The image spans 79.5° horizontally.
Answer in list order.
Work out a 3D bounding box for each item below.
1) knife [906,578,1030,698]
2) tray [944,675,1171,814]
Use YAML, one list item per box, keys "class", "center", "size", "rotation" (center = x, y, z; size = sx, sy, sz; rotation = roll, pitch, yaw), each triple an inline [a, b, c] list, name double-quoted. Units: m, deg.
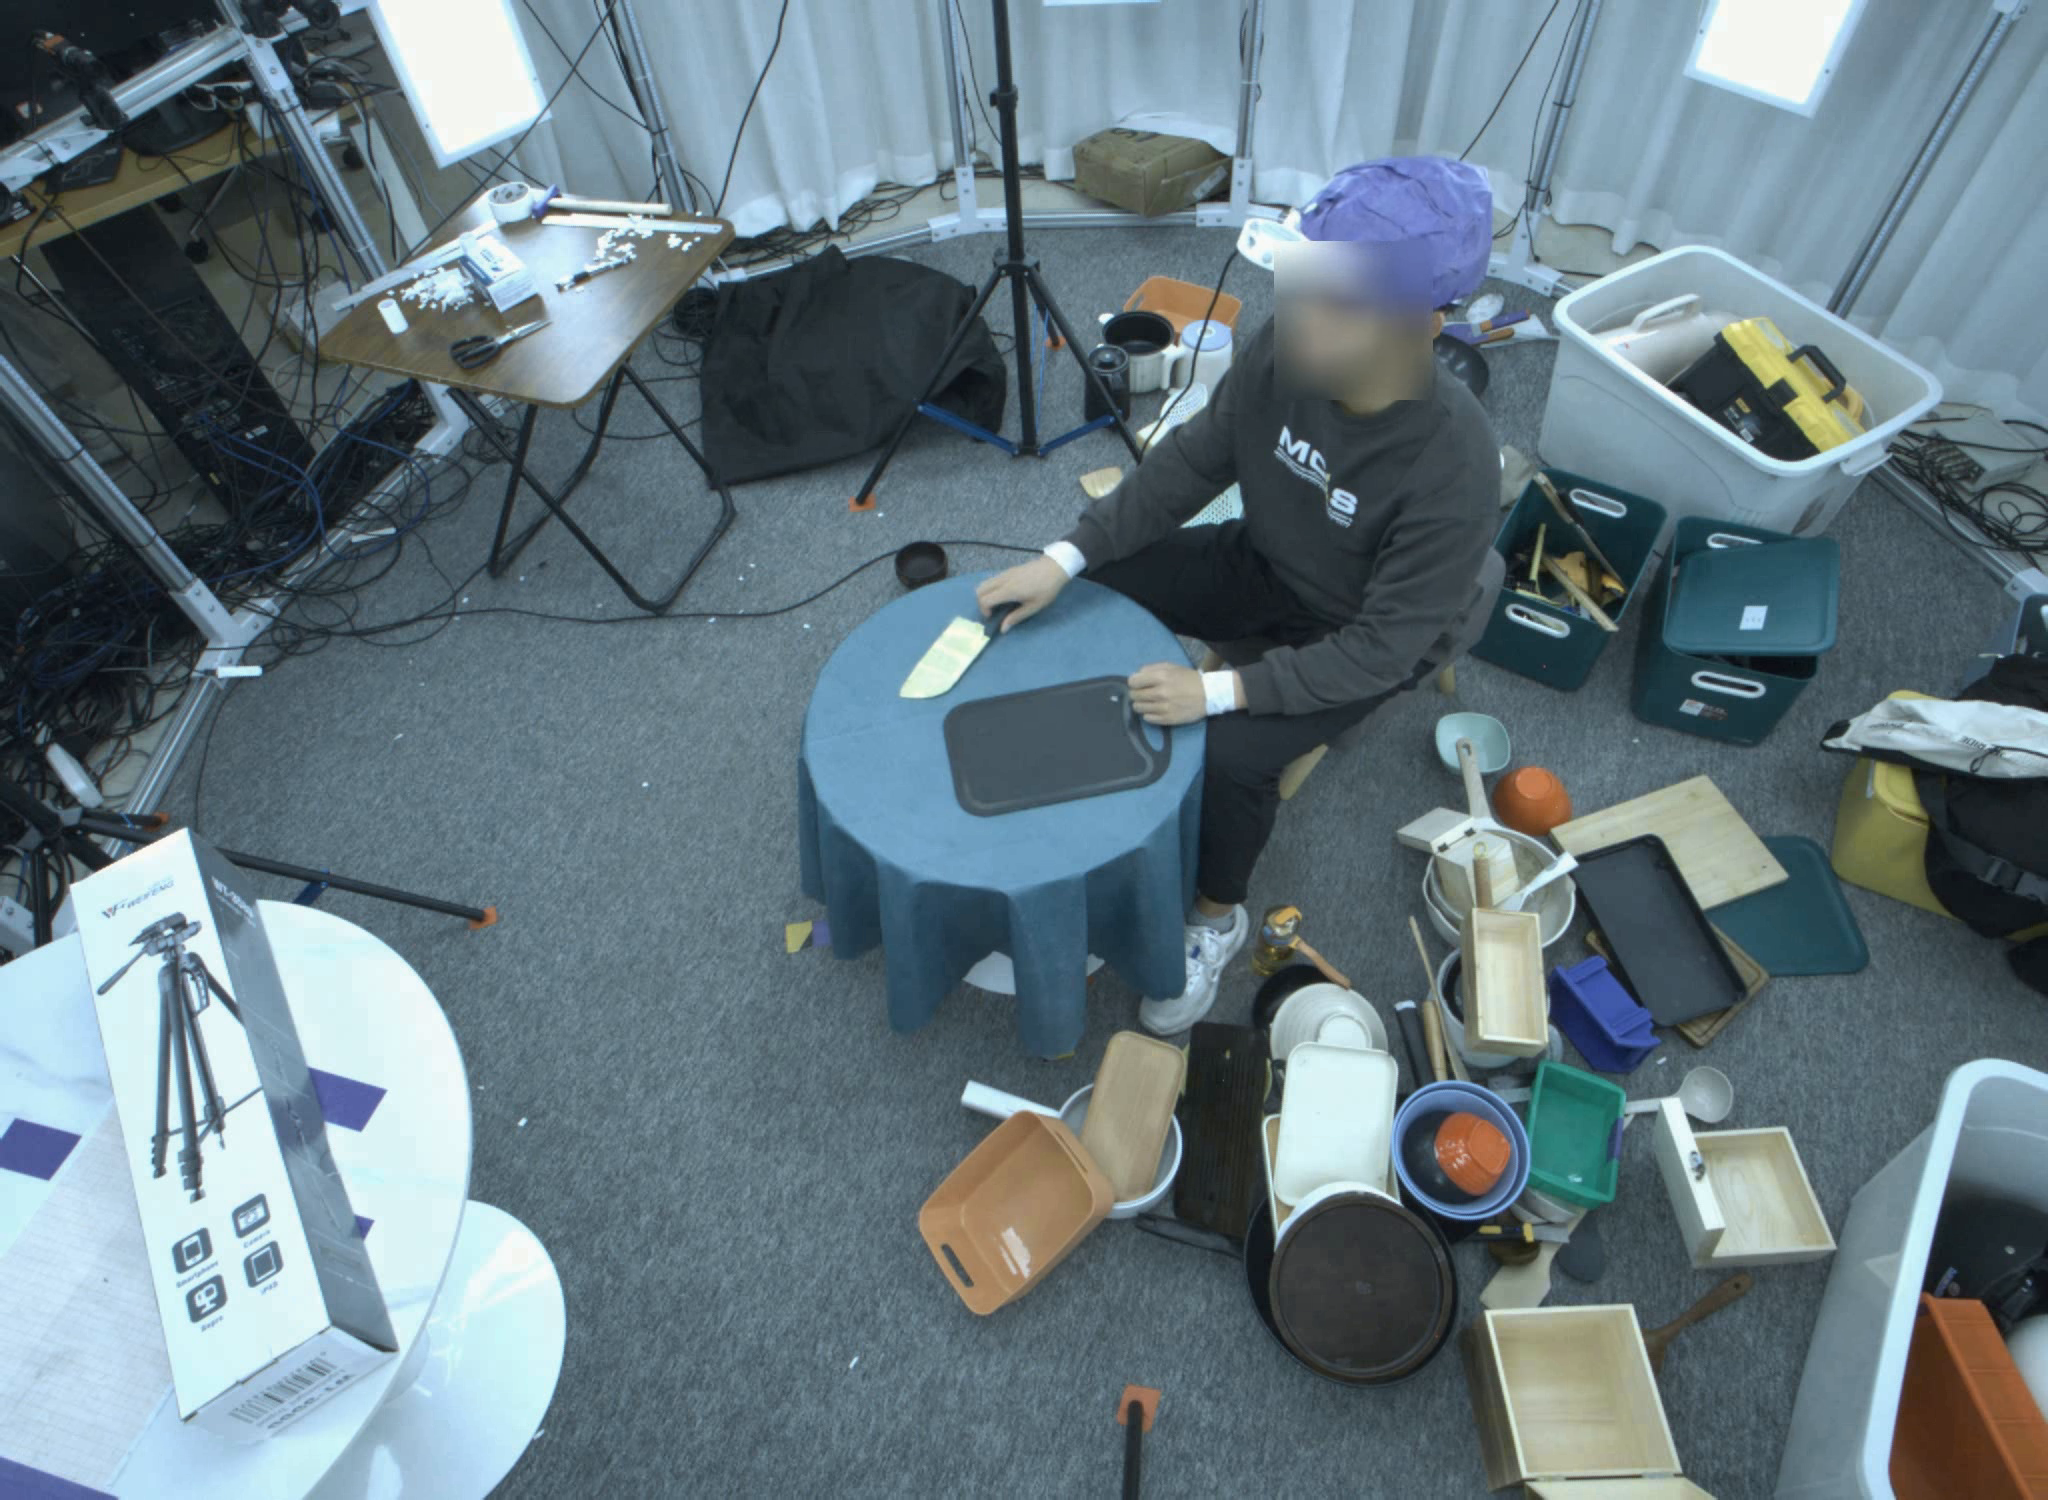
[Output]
- class: "knife"
  center: [-0.087, -0.178, 1.916]
  size: [0.080, 0.027, 0.291]
  rotation: [30, 61, 20]
- class: "tray"
  center: [0.051, -0.015, 1.800]
  size: [0.327, 0.010, 0.208]
  rotation: [-10, 55, -6]
